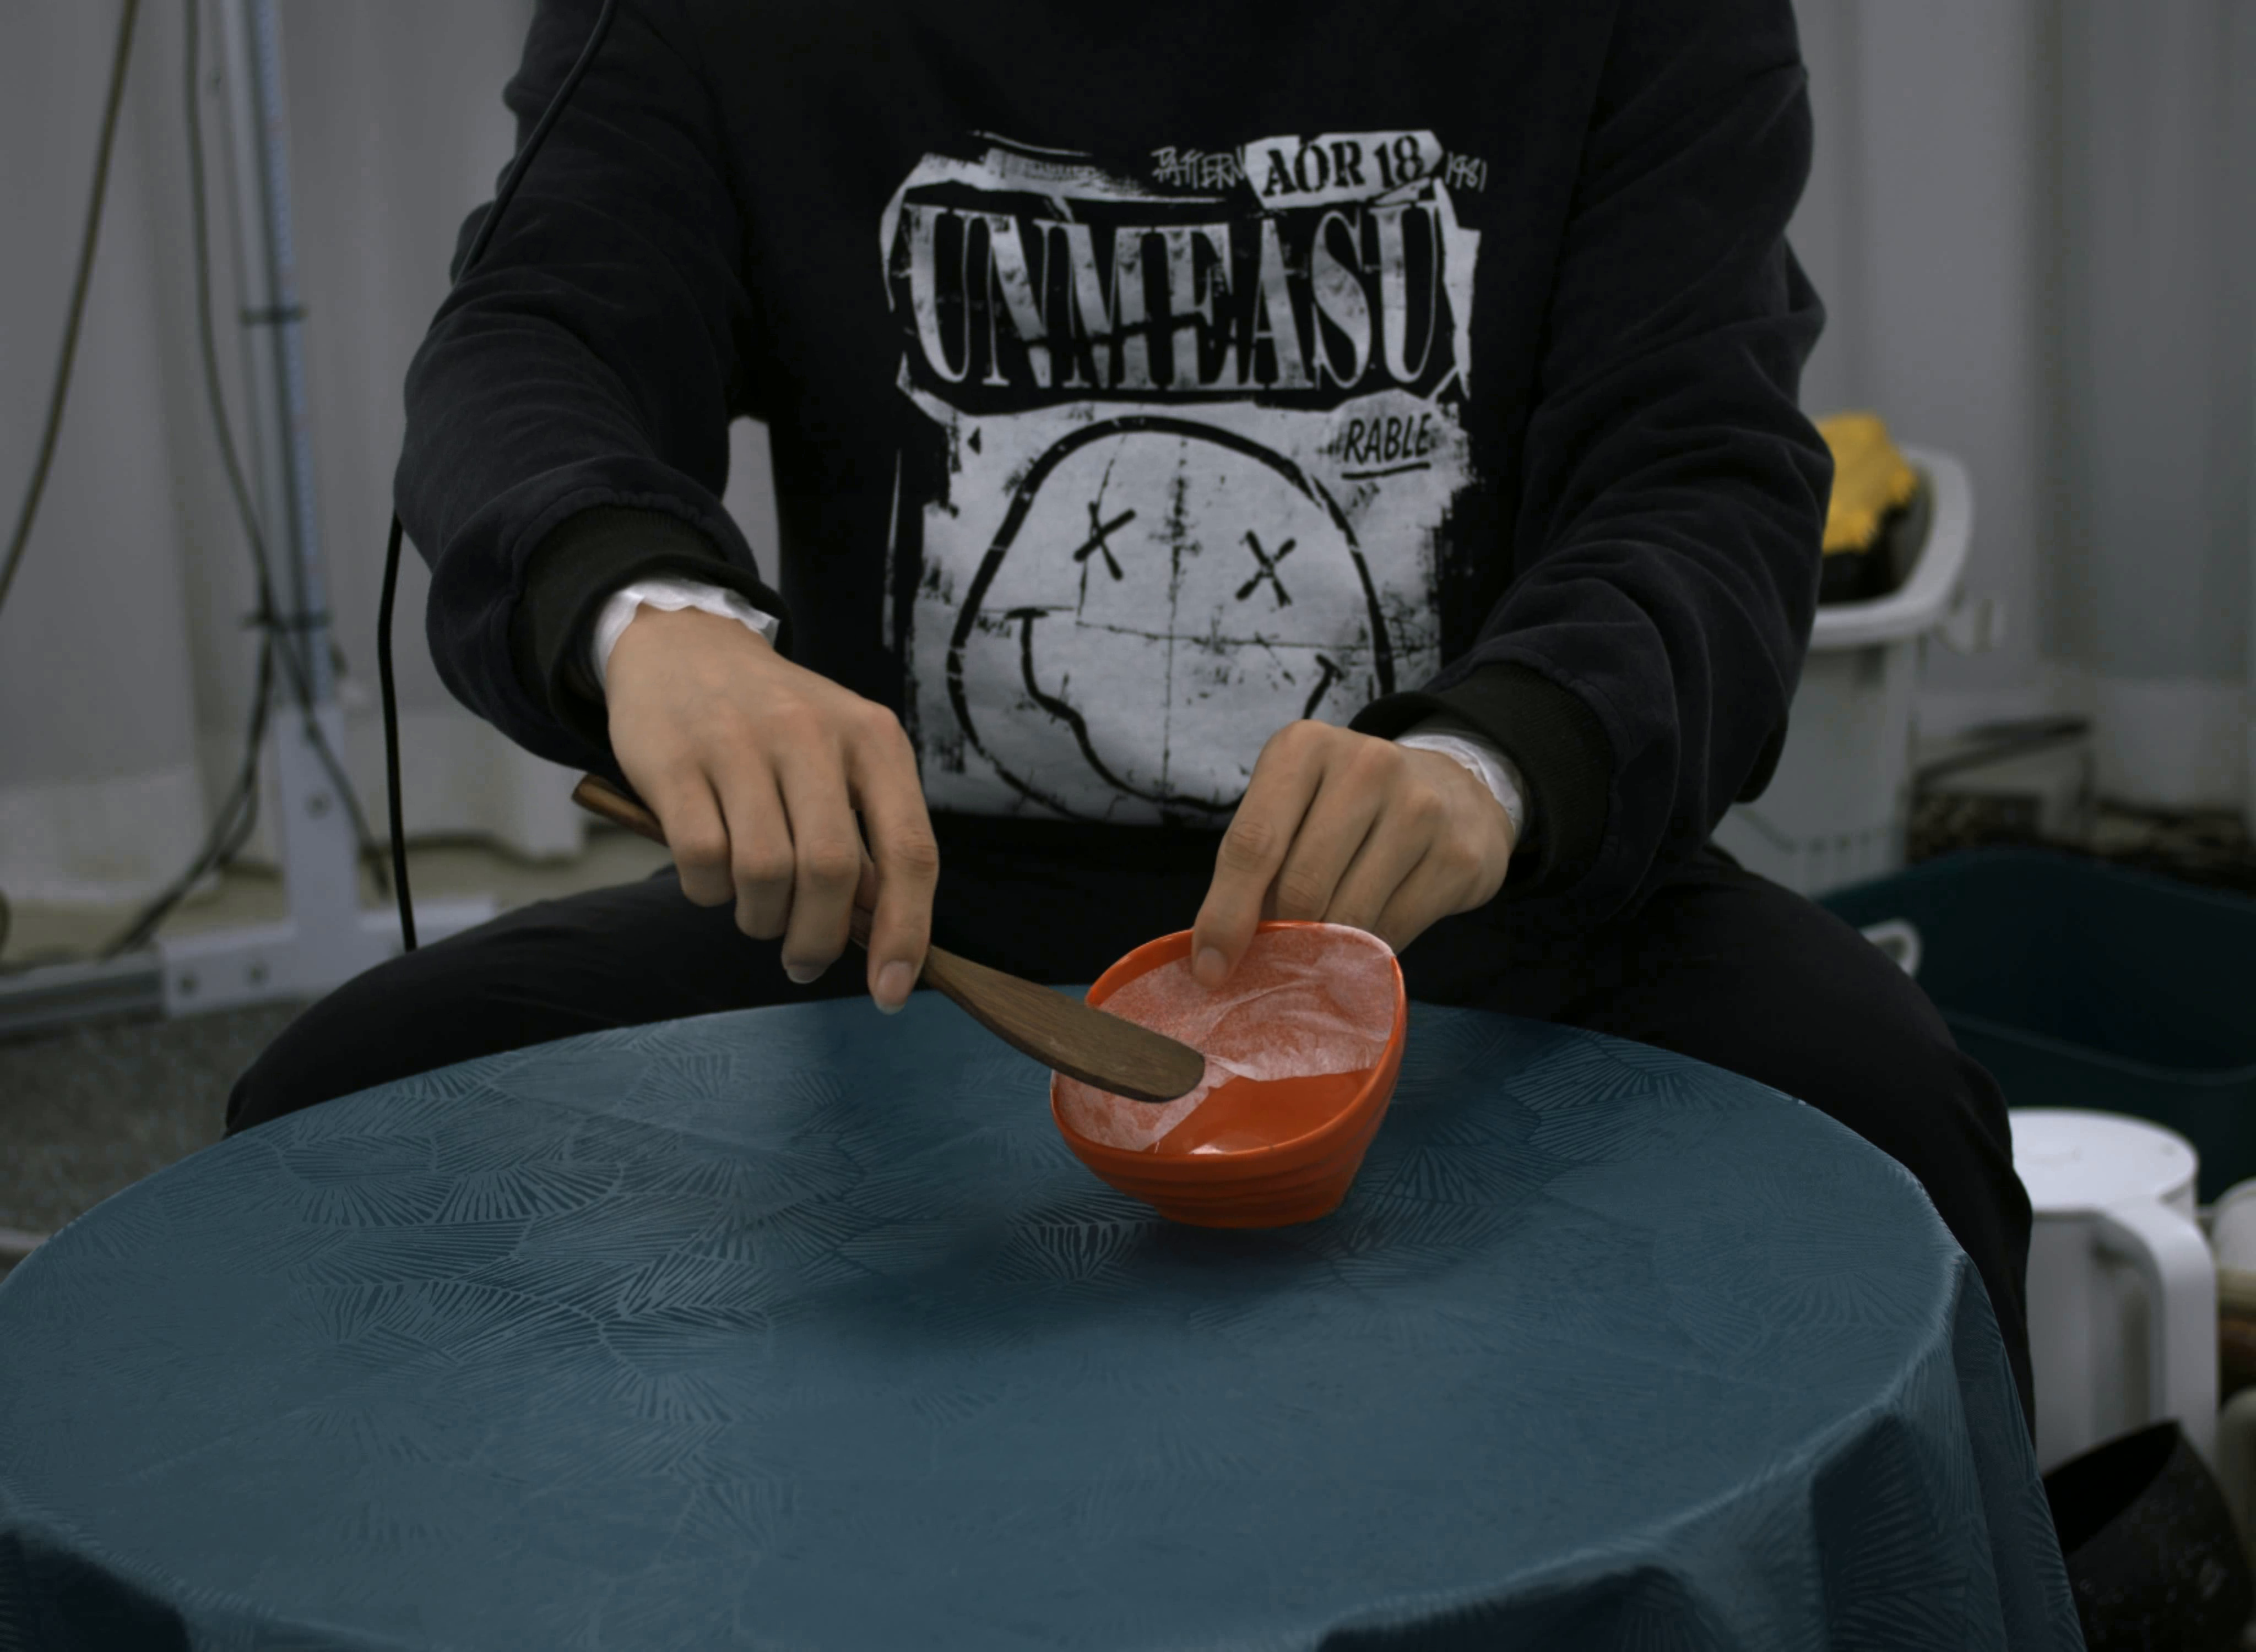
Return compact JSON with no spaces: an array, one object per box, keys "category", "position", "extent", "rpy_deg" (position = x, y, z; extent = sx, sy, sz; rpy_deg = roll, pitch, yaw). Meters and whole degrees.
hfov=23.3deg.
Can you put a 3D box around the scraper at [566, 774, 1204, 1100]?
[{"category":"scraper","position":[-0.075,0.033,1.652],"extent":[0.211,0.011,0.076],"rpy_deg":[26,13,5]}]

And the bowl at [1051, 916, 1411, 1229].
[{"category":"bowl","position":[0.036,0.083,1.684],"extent":[0.118,0.051,0.120],"rpy_deg":[-11,39,8]}]
